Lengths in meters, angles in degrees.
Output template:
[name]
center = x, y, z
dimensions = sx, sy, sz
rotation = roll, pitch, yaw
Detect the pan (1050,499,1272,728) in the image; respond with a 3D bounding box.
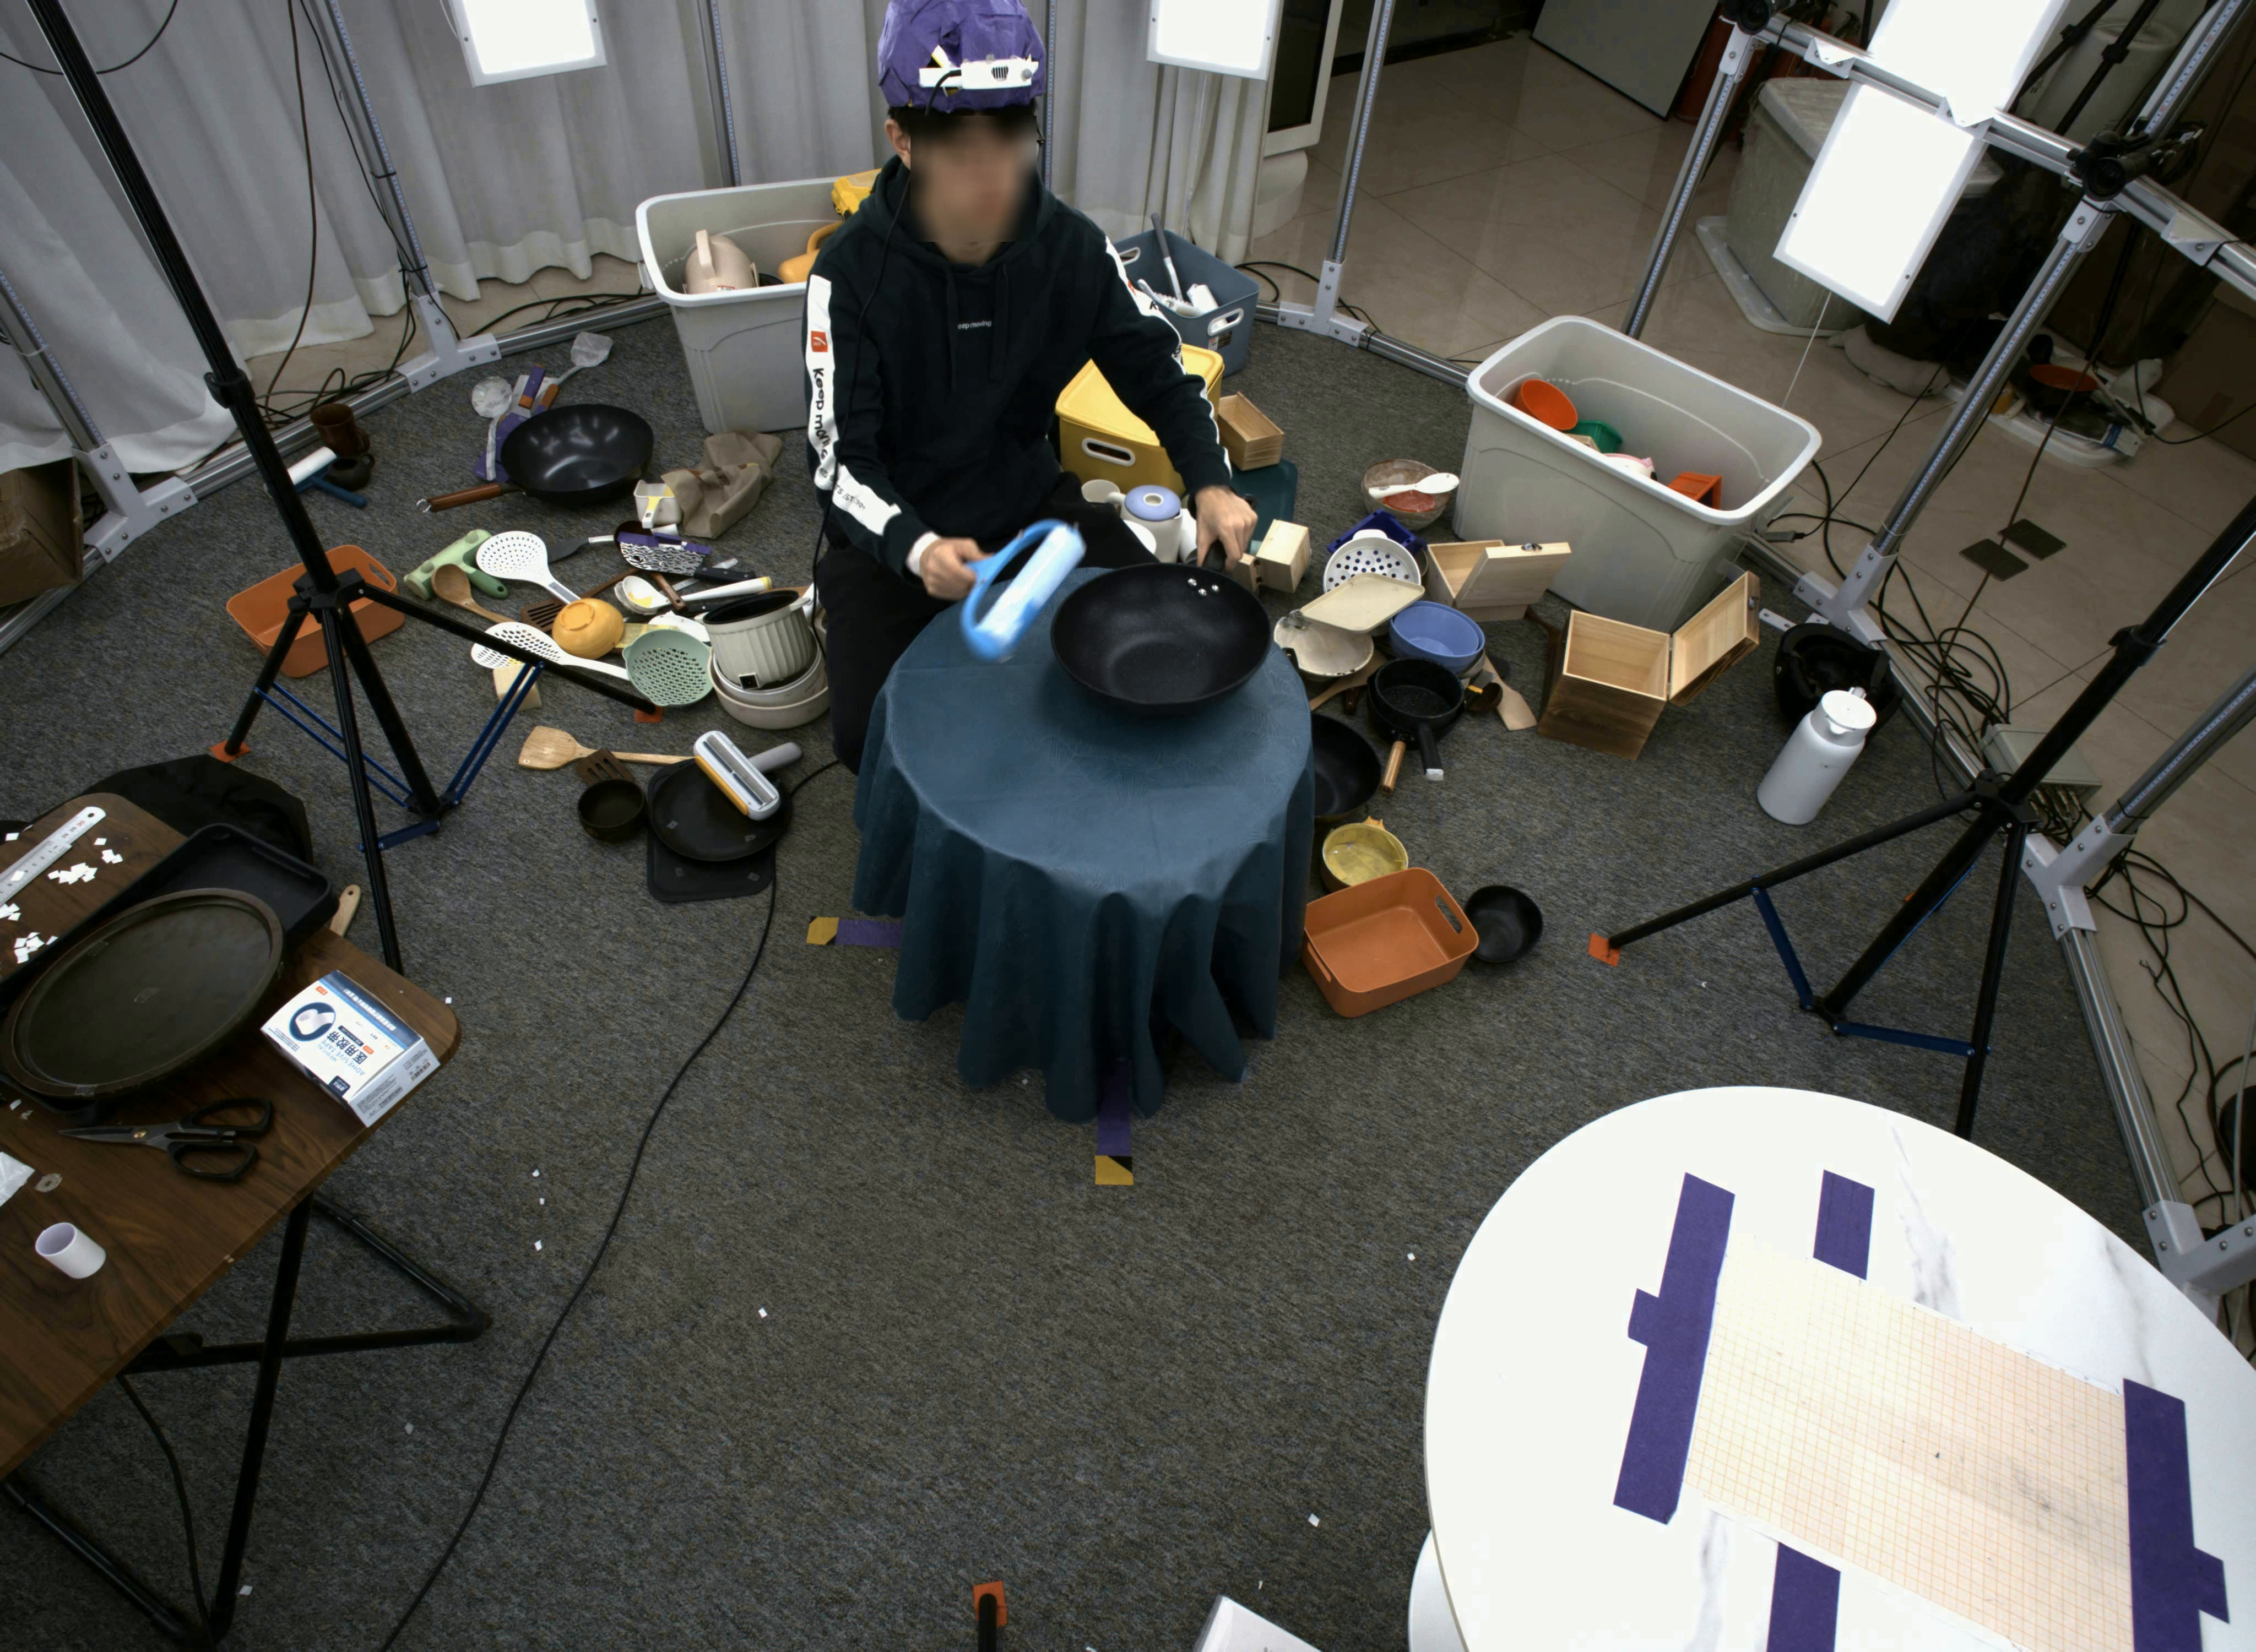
[pan]
center = 0.083, -0.303, 1.861
dimensions = 0.312, 0.109, 0.485
rotation = 20, 50, 17

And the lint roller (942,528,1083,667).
[lint roller]
center = -0.180, -0.308, 1.683
dimensions = 0.182, 0.066, 0.232
rotation = 17, 60, 29
